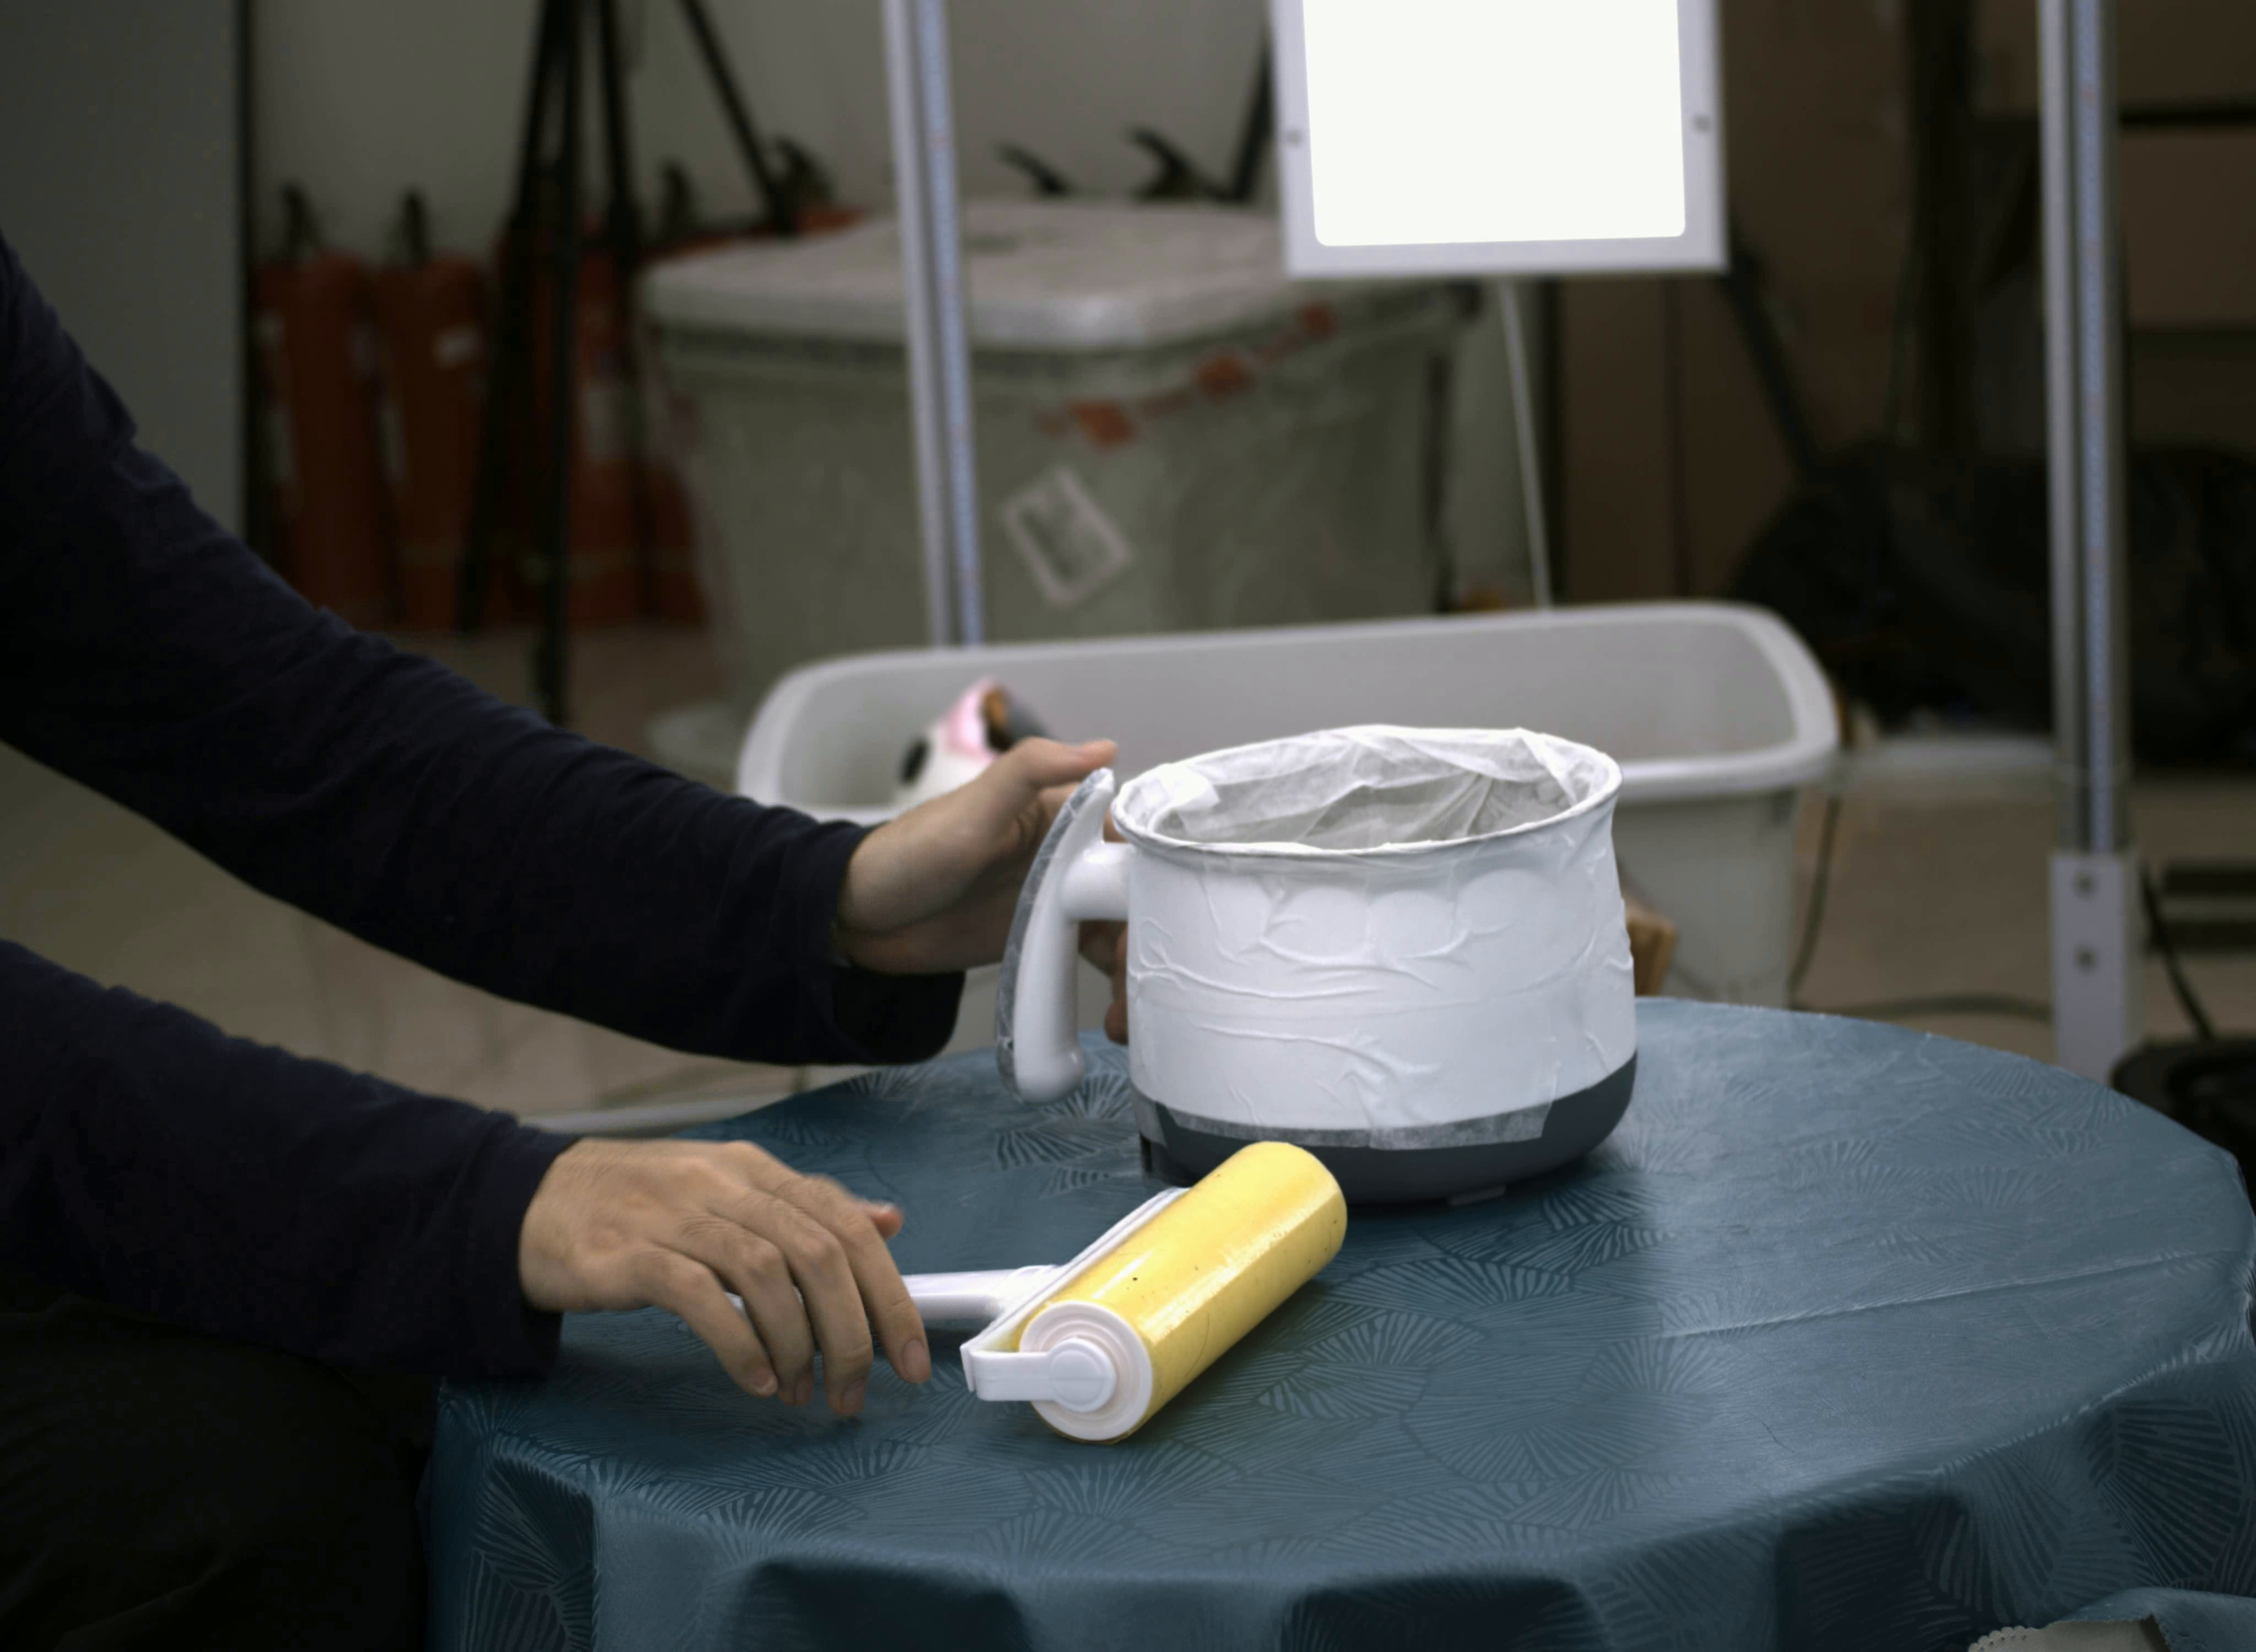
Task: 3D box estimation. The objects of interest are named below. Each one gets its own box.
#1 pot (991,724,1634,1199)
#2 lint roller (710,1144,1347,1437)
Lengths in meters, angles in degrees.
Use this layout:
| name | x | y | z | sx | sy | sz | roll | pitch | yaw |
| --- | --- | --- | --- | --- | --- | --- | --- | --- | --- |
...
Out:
| name | x | y | z | sx | sy | sz | roll | pitch | yaw |
| --- | --- | --- | --- | --- | --- | --- | --- | --- | --- |
| pot | 0.061 | 0.044 | 1.914 | 0.237 | 0.137 | 0.175 | 2 | 14 | 22 |
| lint roller | -0.047 | 0.143 | 1.752 | 0.195 | 0.051 | 0.171 | 3 | 15 | 24 |
